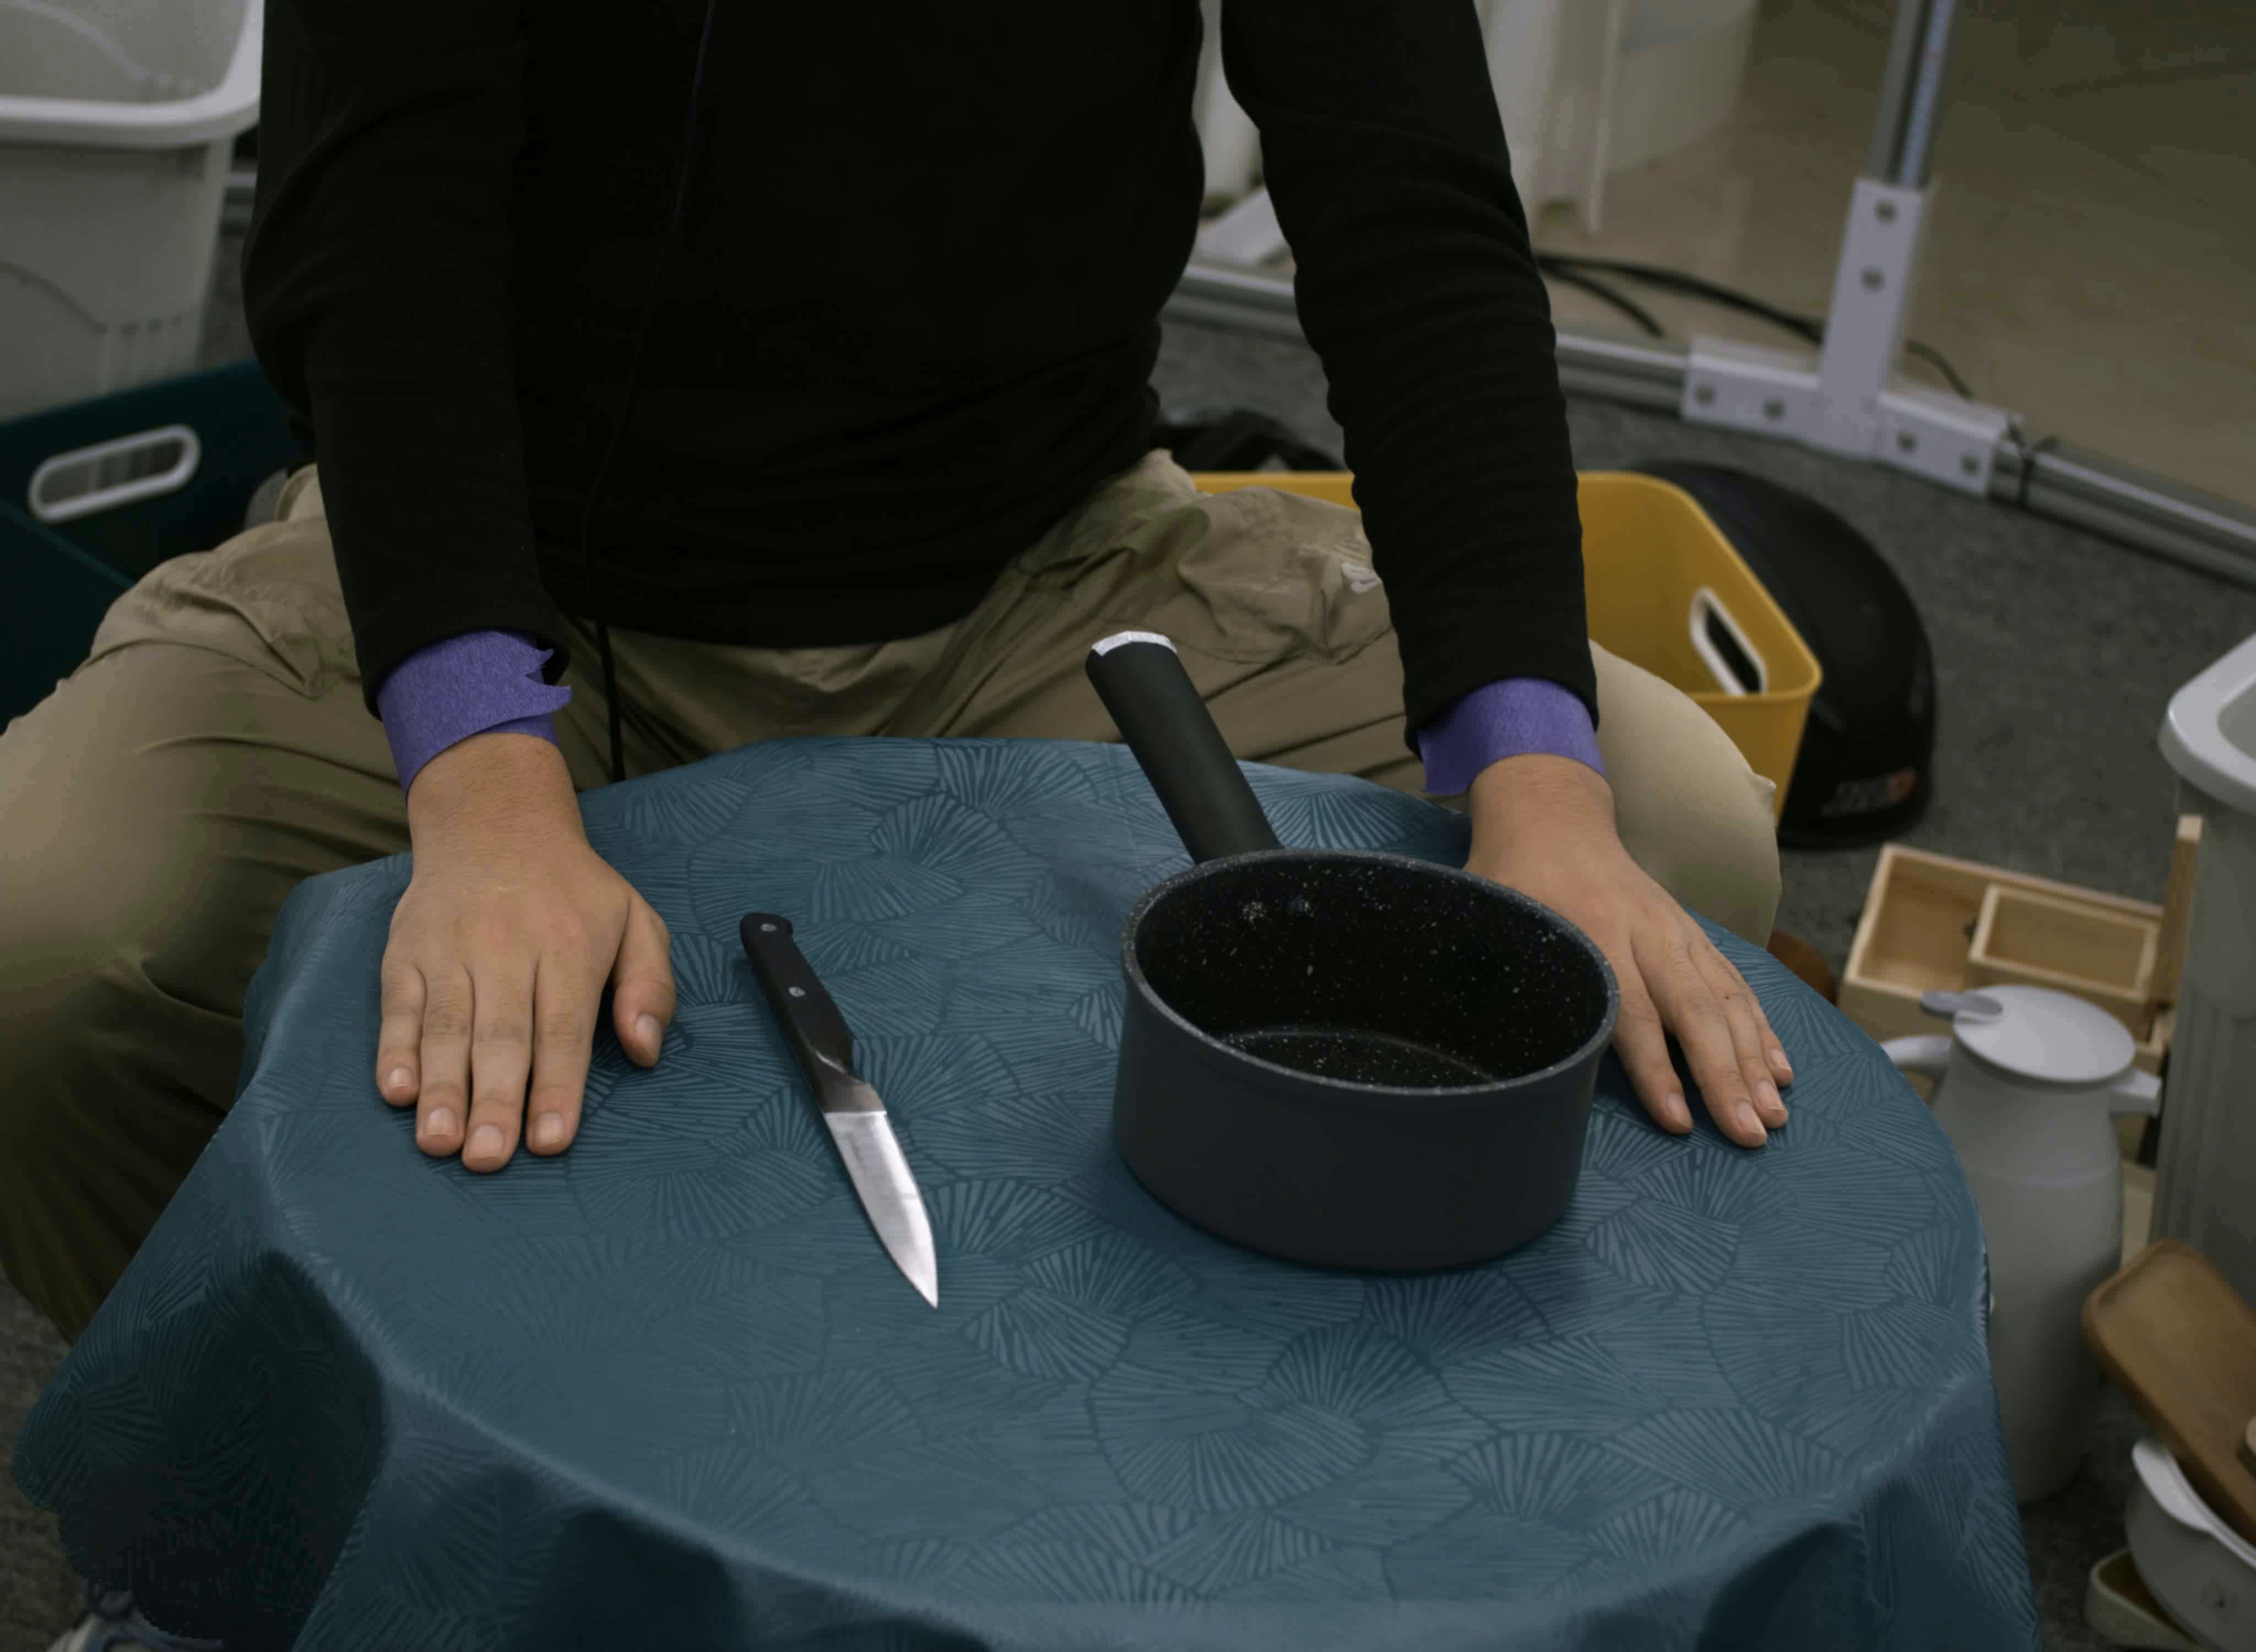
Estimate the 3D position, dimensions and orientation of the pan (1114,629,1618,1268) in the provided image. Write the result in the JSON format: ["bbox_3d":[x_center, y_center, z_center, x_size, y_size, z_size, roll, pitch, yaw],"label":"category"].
[{"bbox_3d":[0.055,0.040,1.889,0.171,0.086,0.331,-2,29,-18],"label":"pan"}]

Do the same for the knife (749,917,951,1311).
[{"bbox_3d":[-0.096,0.097,1.824,0.024,0.016,0.240,0,30,-19],"label":"knife"}]
